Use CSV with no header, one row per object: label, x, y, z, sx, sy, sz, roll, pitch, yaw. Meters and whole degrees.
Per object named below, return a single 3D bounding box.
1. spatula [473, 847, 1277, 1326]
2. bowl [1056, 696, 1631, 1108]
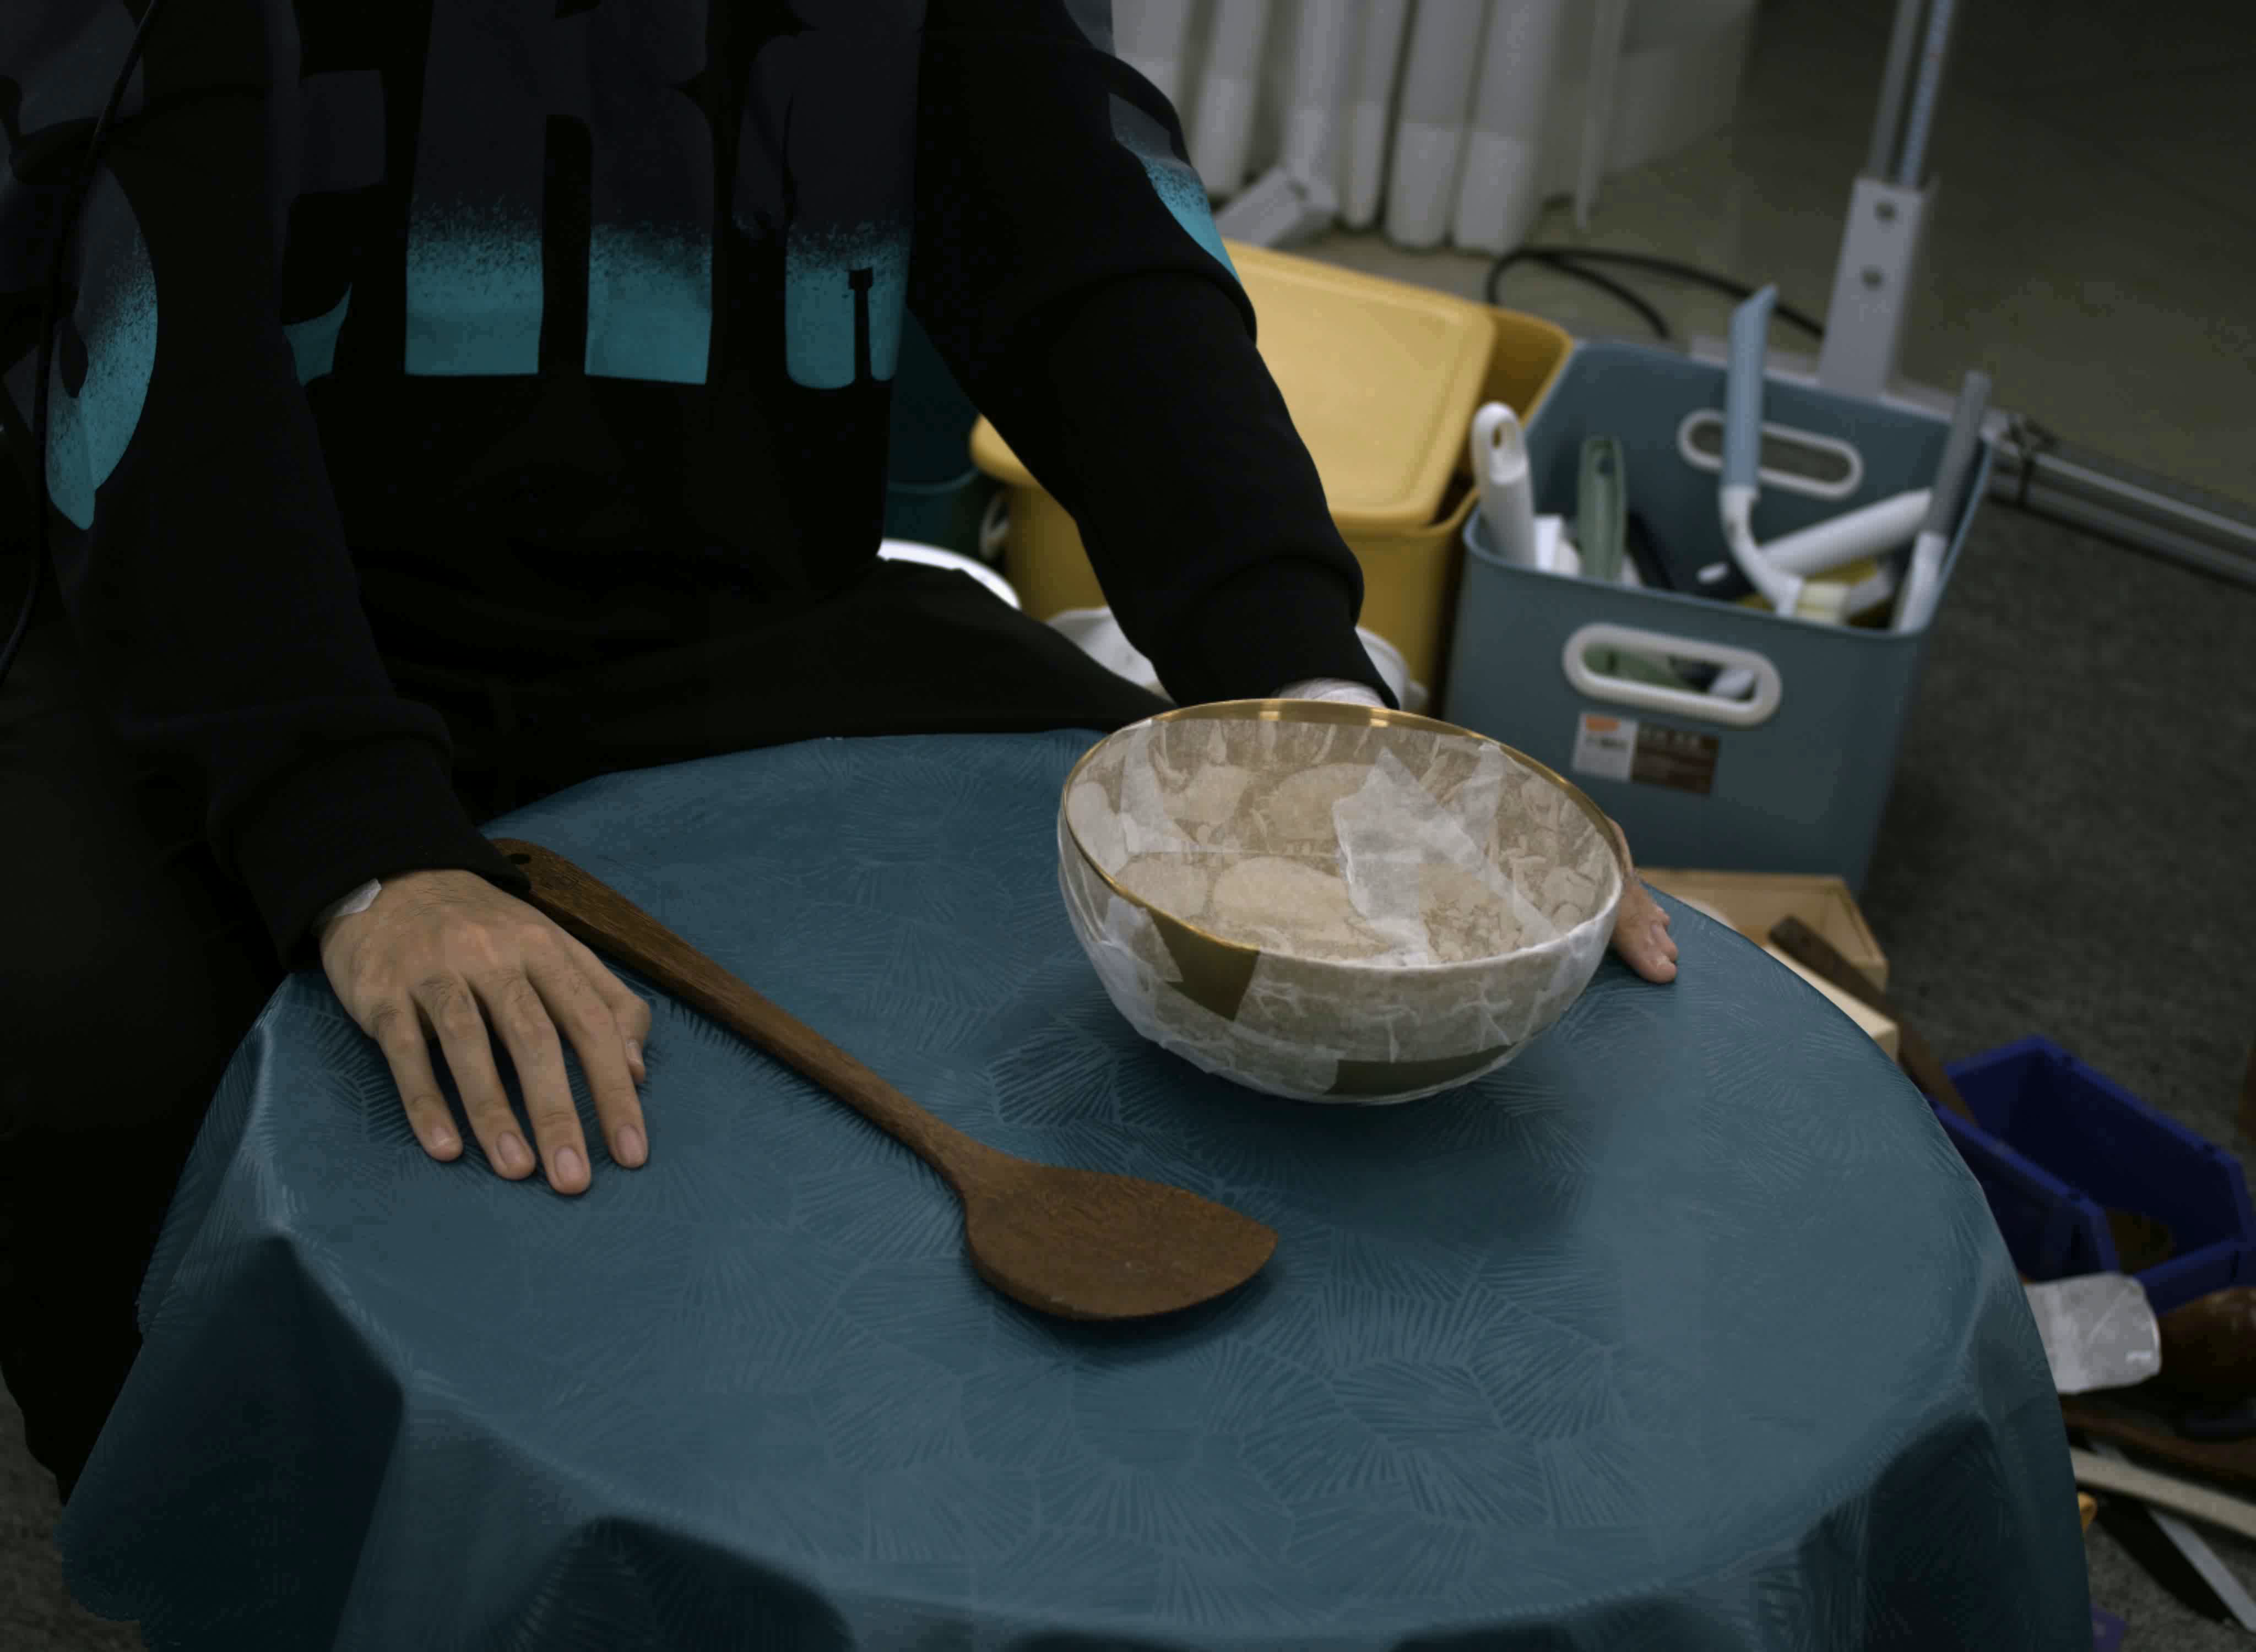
spatula,-0.106,0.082,1.843,0.095,0.016,0.389,-18,35,-40
bowl,0.072,0.038,1.883,0.214,0.094,0.216,3,26,-2
